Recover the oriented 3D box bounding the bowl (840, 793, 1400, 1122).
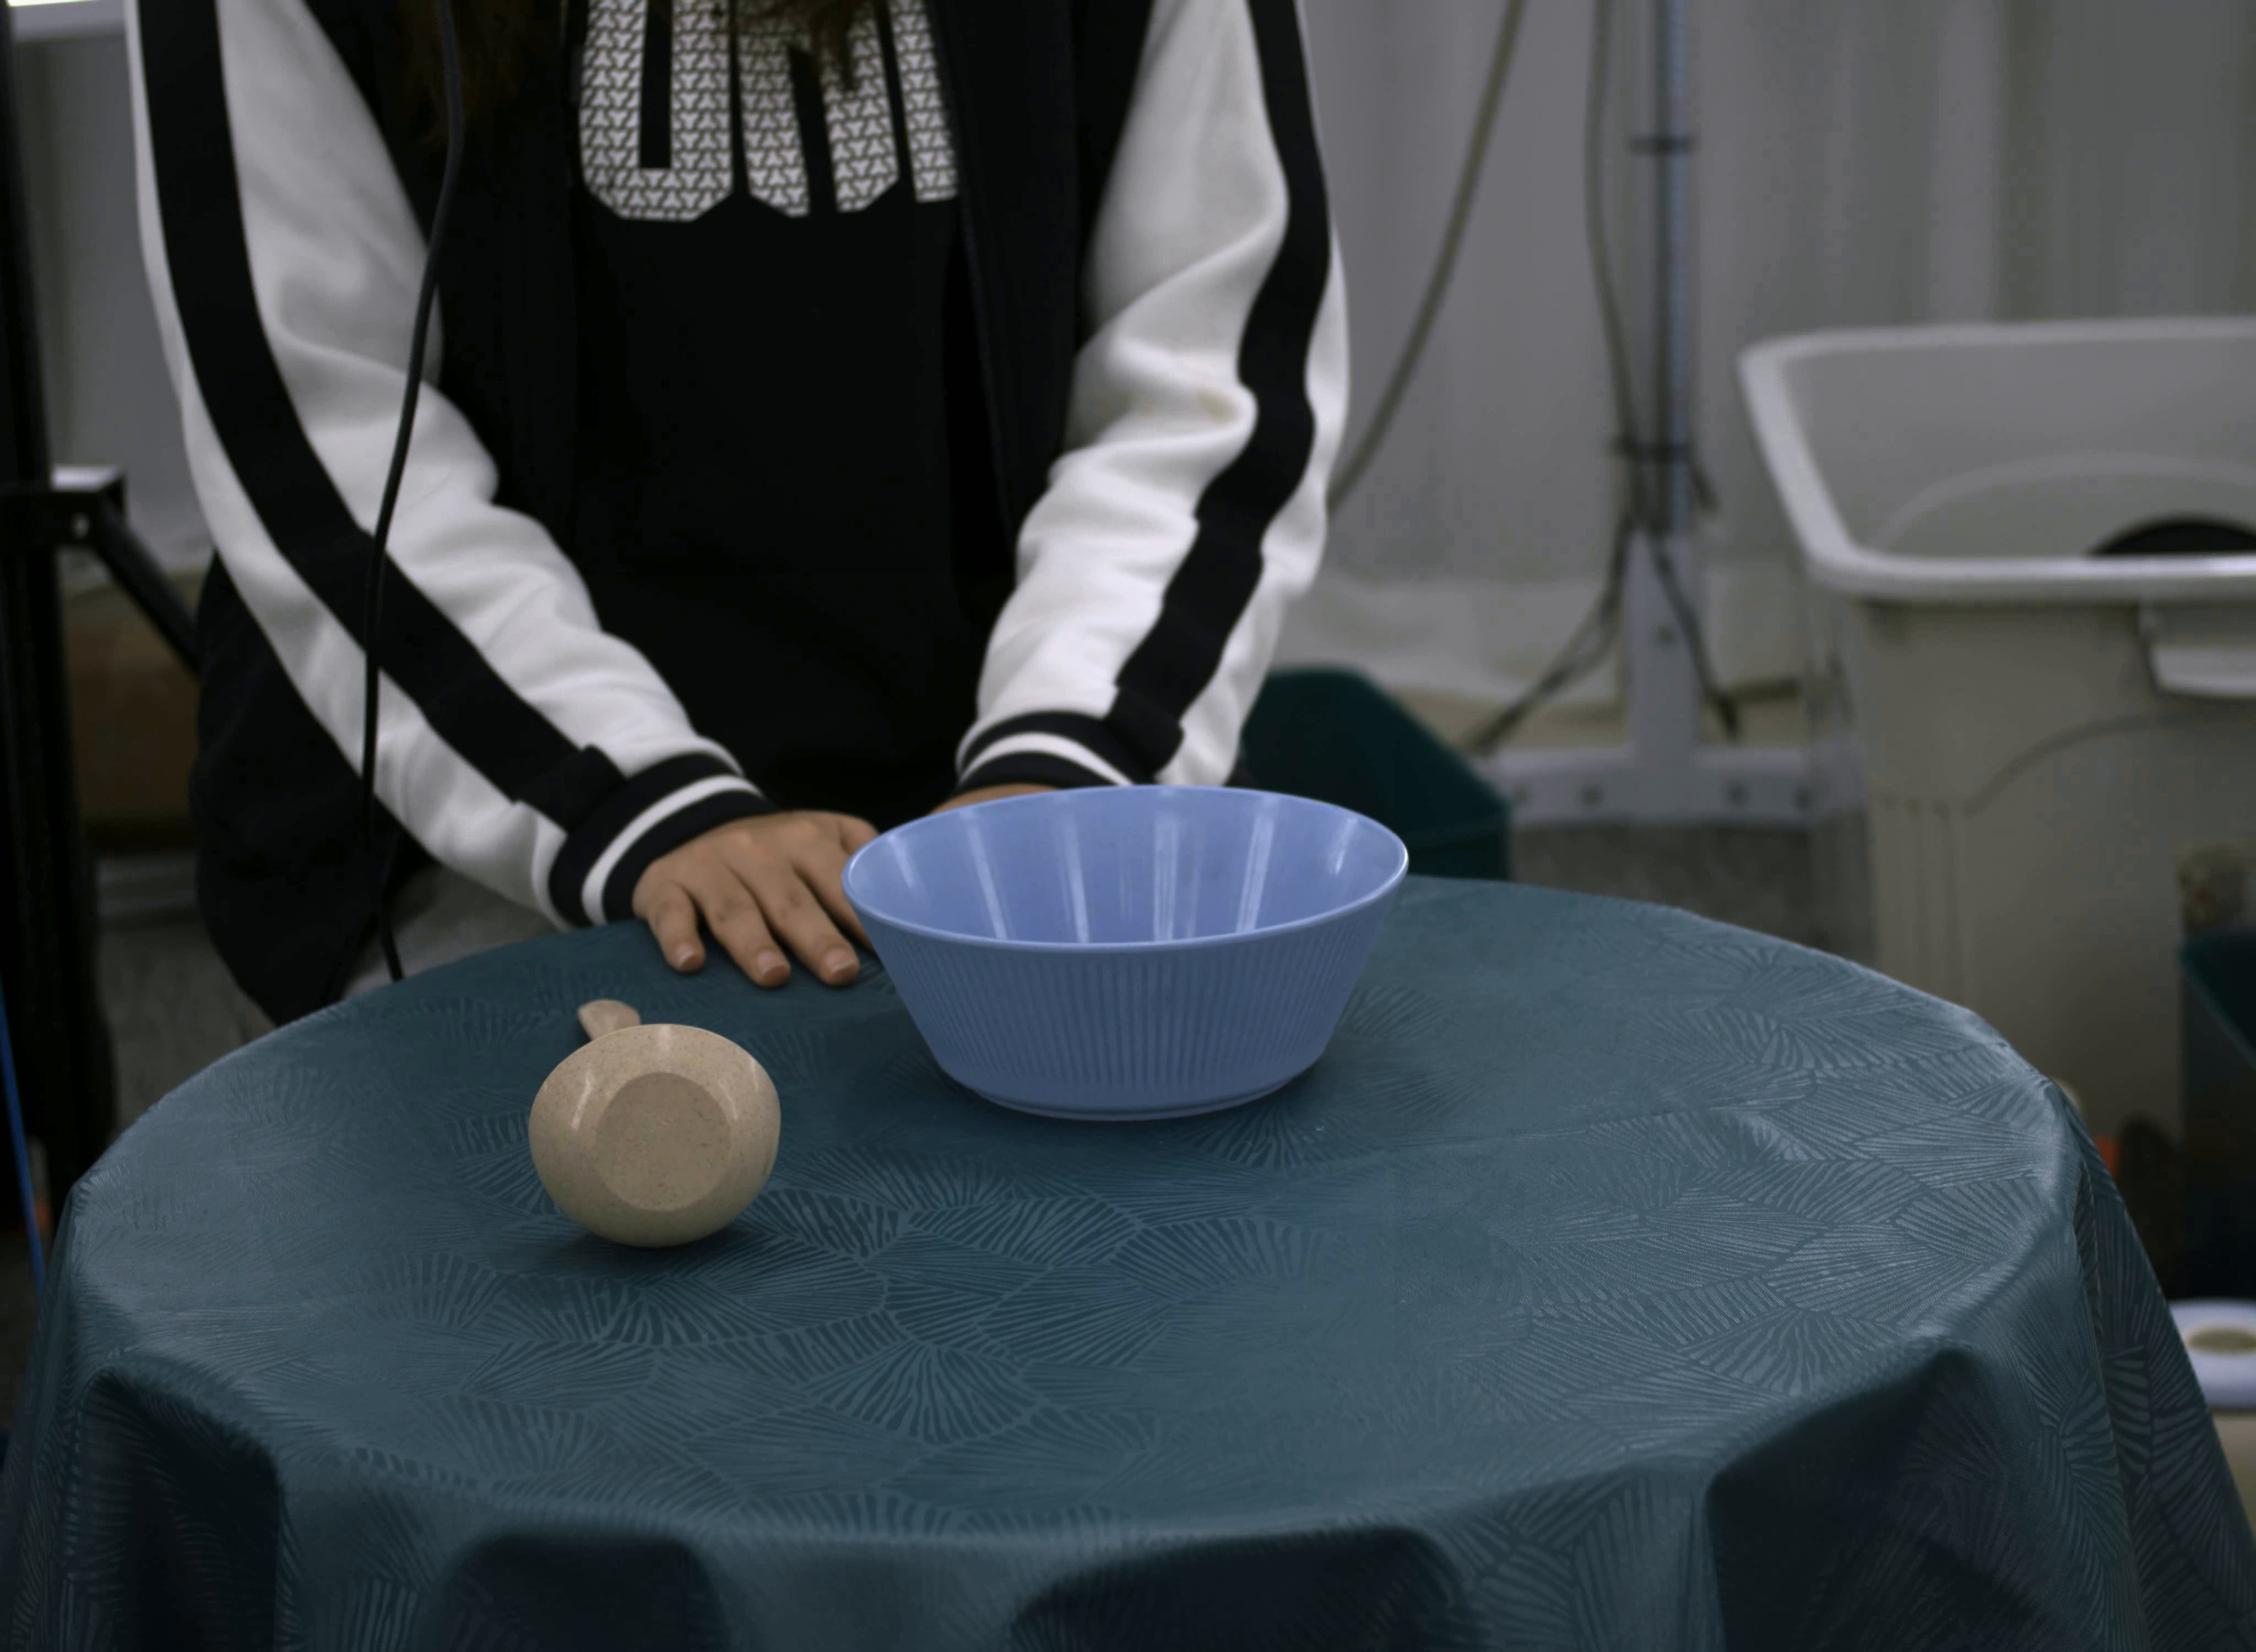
[{"bbox_3d":[-0.002,0.043,1.661,0.175,0.070,0.177,-2,16,-1],"label":"bowl"}]

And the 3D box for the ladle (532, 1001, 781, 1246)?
[{"bbox_3d":[-0.153,0.060,1.619,0.071,0.073,0.257,-1,15,-11],"label":"ladle"}]
